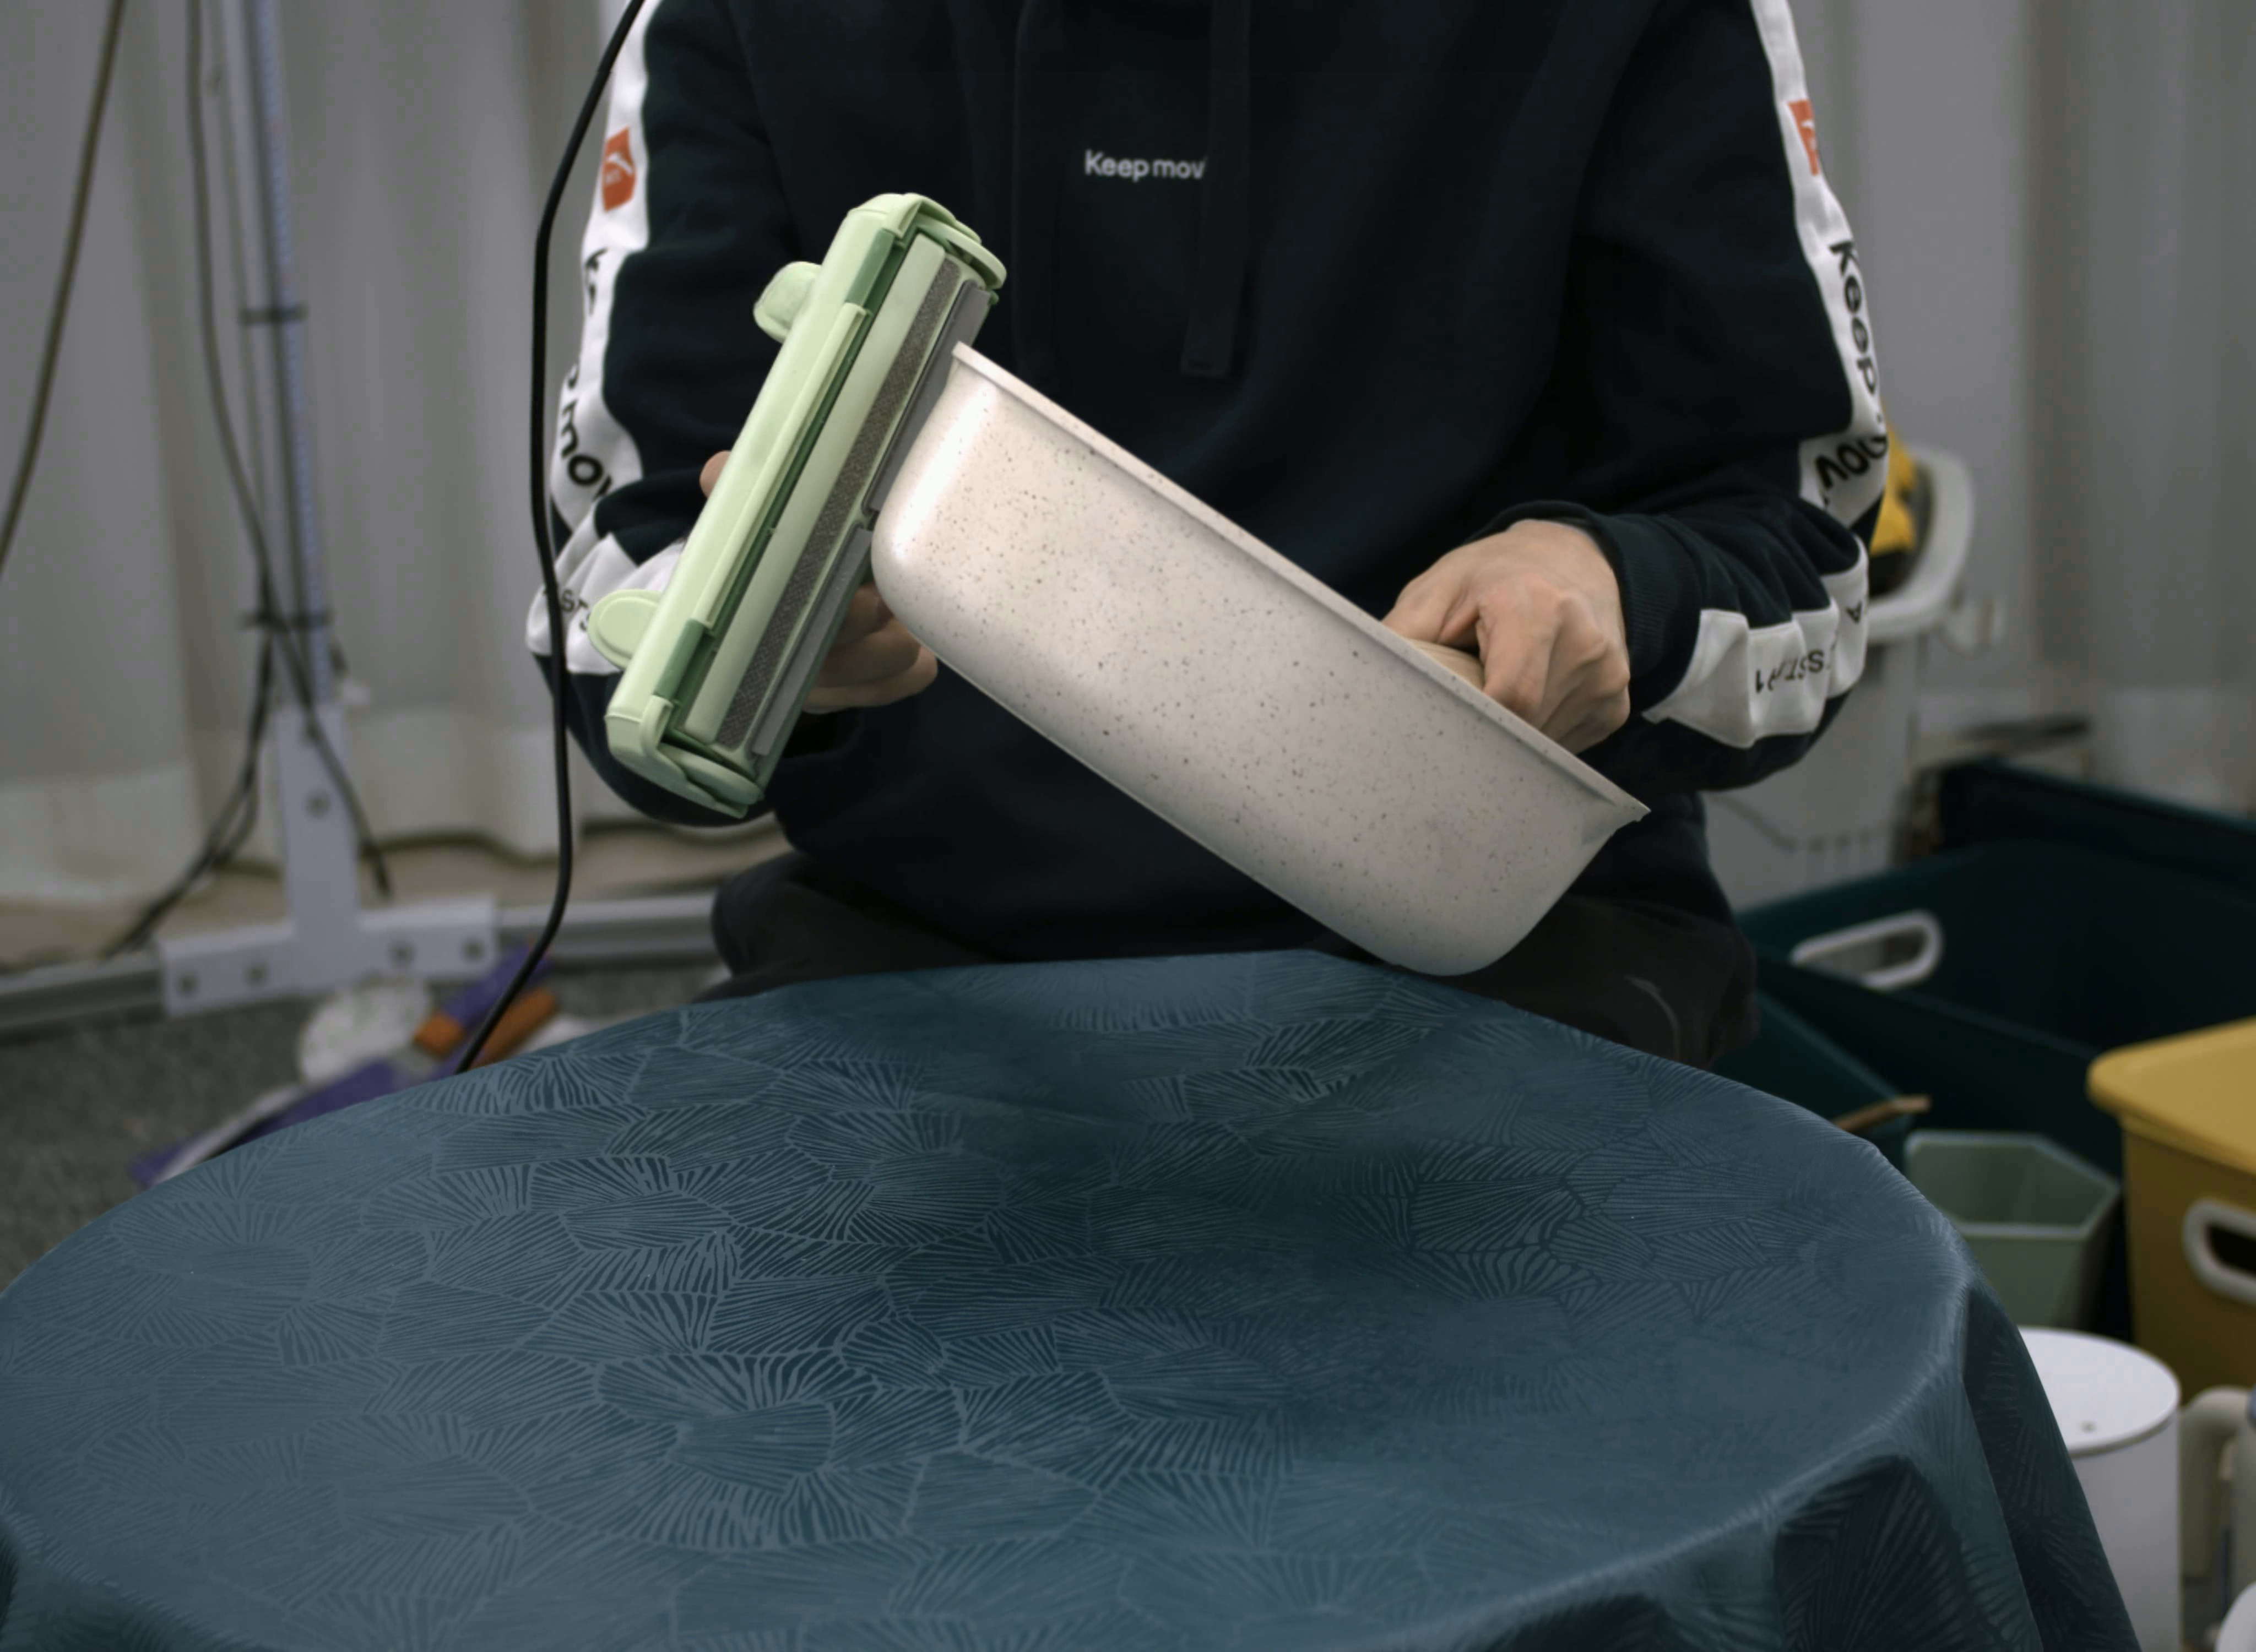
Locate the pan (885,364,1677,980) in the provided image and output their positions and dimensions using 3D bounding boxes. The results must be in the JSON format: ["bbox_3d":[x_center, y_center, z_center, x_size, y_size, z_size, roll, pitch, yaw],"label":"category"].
[{"bbox_3d":[0.067,-0.032,1.737,0.265,0.102,0.431,32,2,20],"label":"pan"}]

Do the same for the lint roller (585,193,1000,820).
[{"bbox_3d":[-0.110,-0.094,1.750,0.082,0.200,0.182,24,-11,0],"label":"lint roller"}]
